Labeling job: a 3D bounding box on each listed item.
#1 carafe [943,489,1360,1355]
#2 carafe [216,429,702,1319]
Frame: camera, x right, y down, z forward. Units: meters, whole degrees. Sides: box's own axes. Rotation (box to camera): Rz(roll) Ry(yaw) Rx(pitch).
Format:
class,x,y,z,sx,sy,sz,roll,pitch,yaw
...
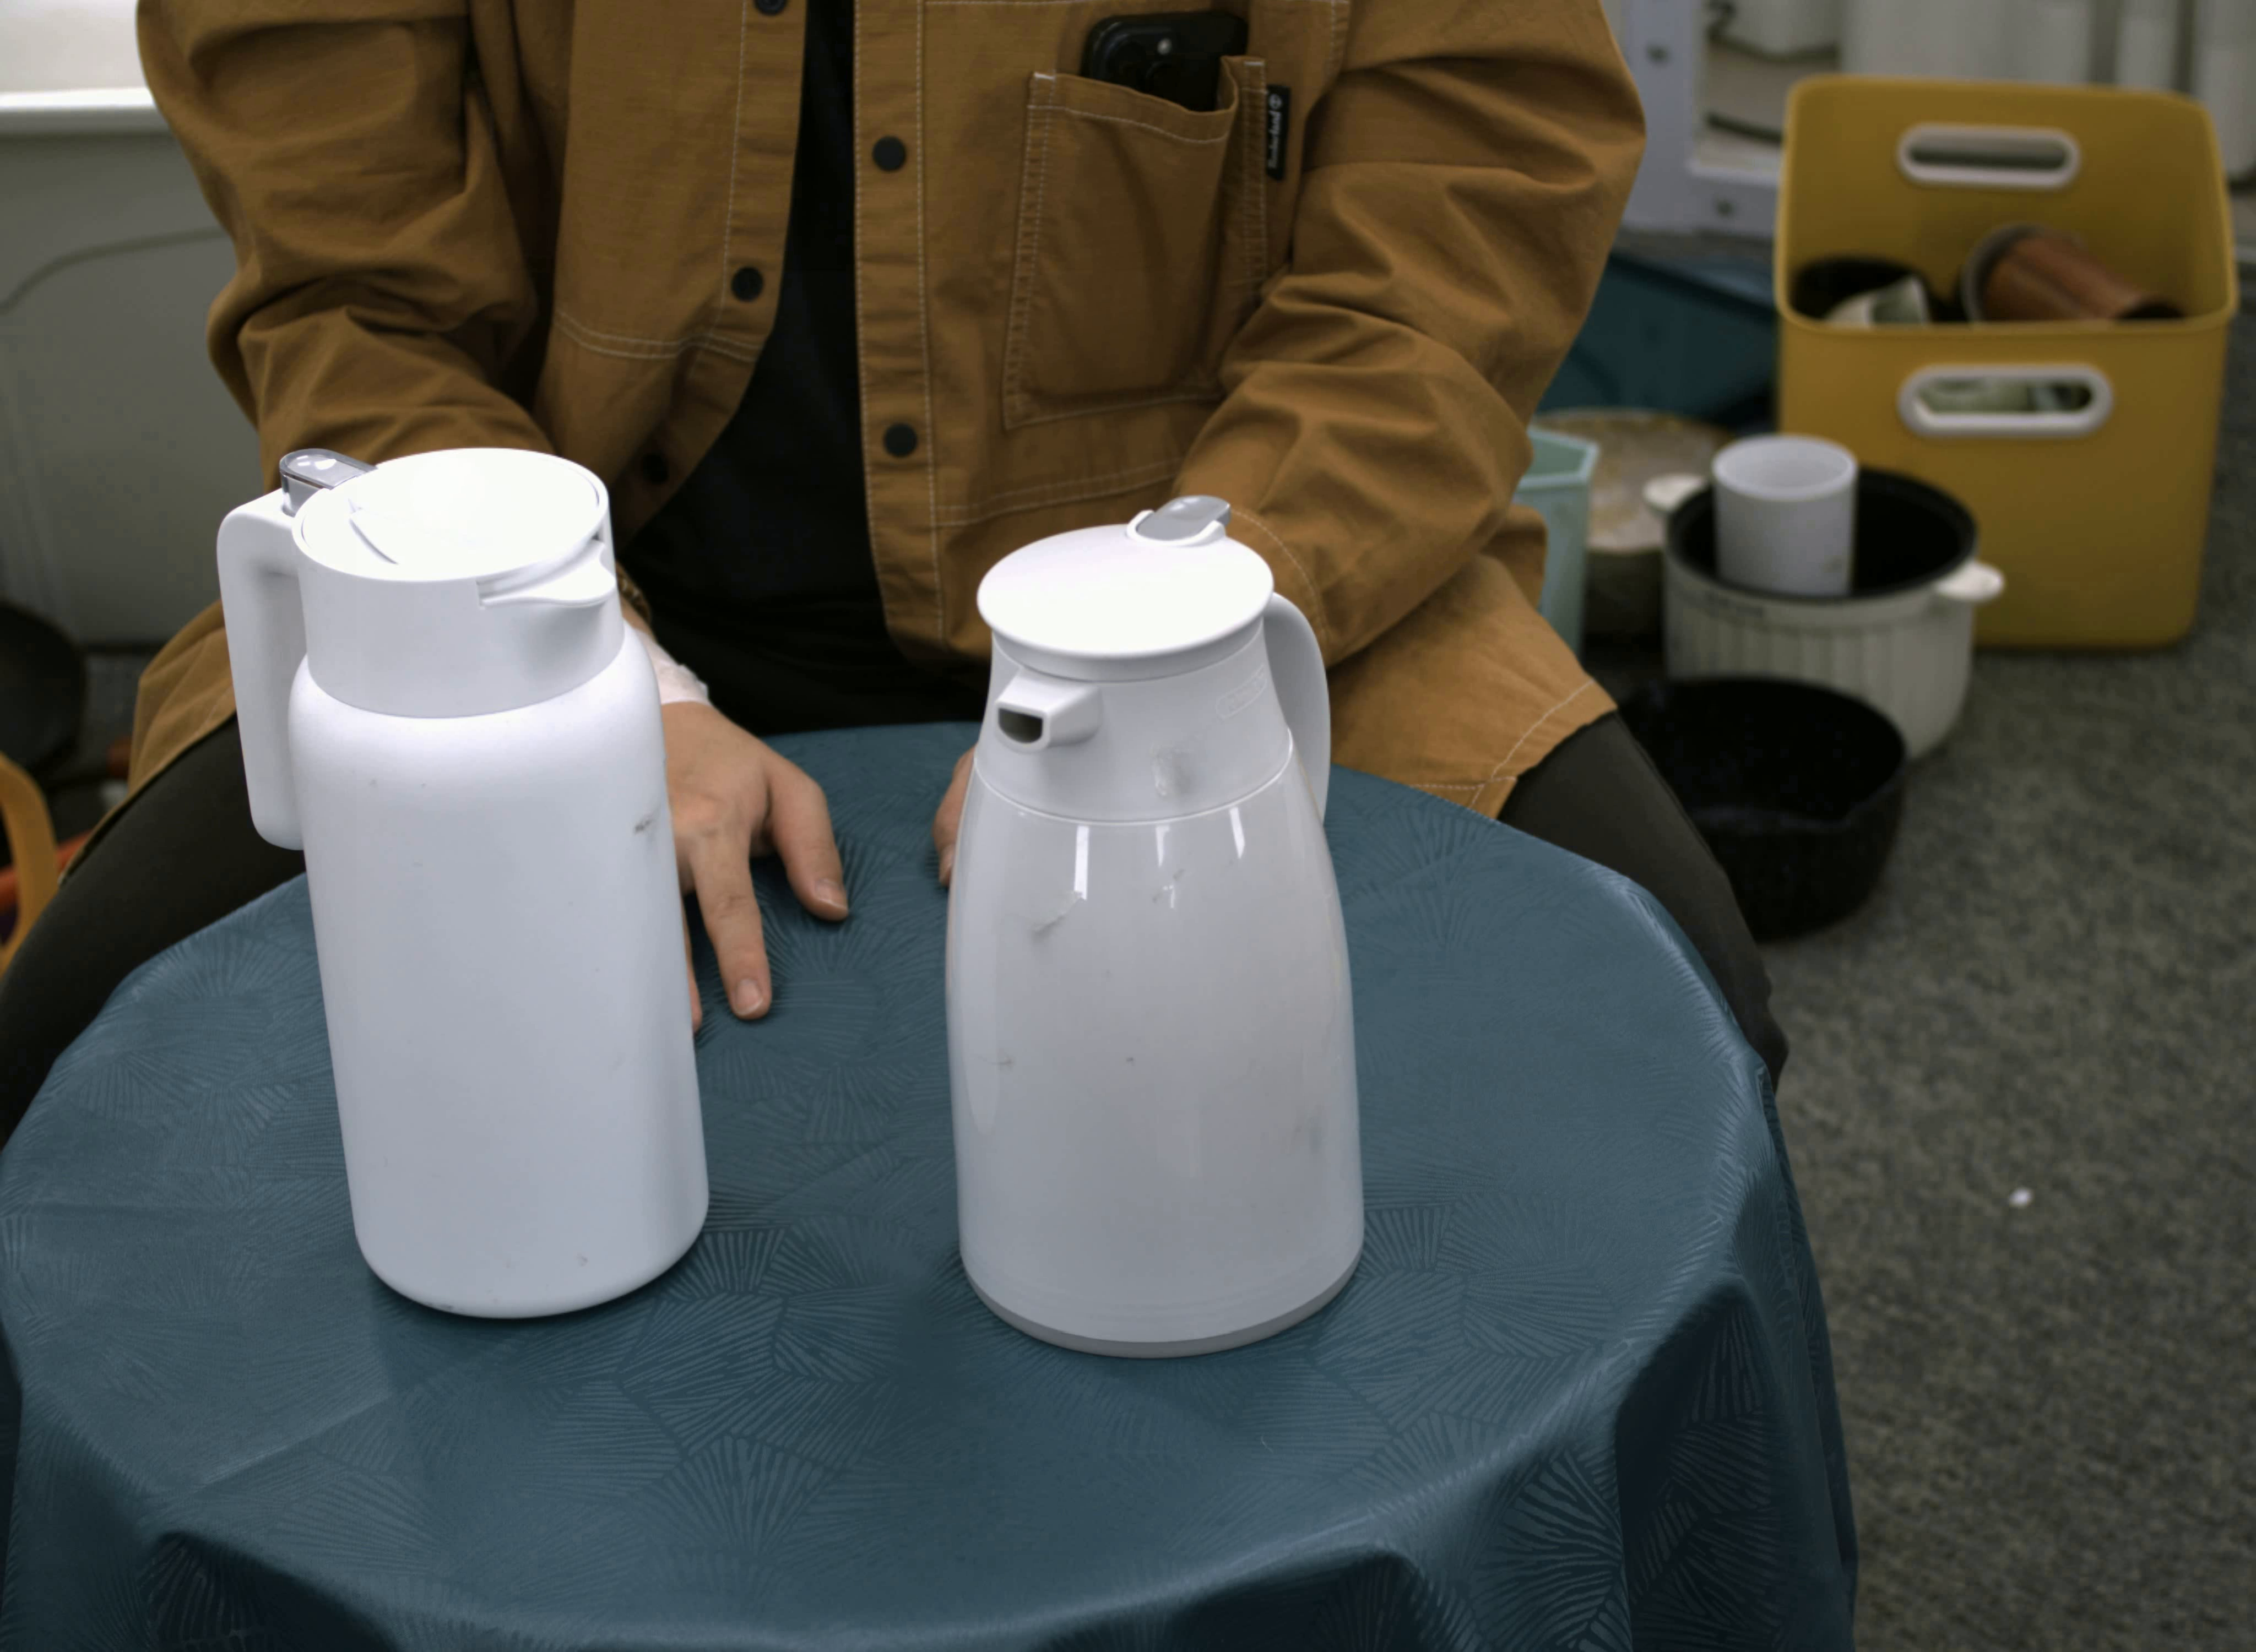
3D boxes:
class,x,y,z,sx,sy,sz,roll,pitch,yaw
carafe,0.013,0.019,1.788,0.132,0.246,0.170,12,29,28
carafe,-0.217,0.014,1.802,0.172,0.266,0.125,18,35,37
